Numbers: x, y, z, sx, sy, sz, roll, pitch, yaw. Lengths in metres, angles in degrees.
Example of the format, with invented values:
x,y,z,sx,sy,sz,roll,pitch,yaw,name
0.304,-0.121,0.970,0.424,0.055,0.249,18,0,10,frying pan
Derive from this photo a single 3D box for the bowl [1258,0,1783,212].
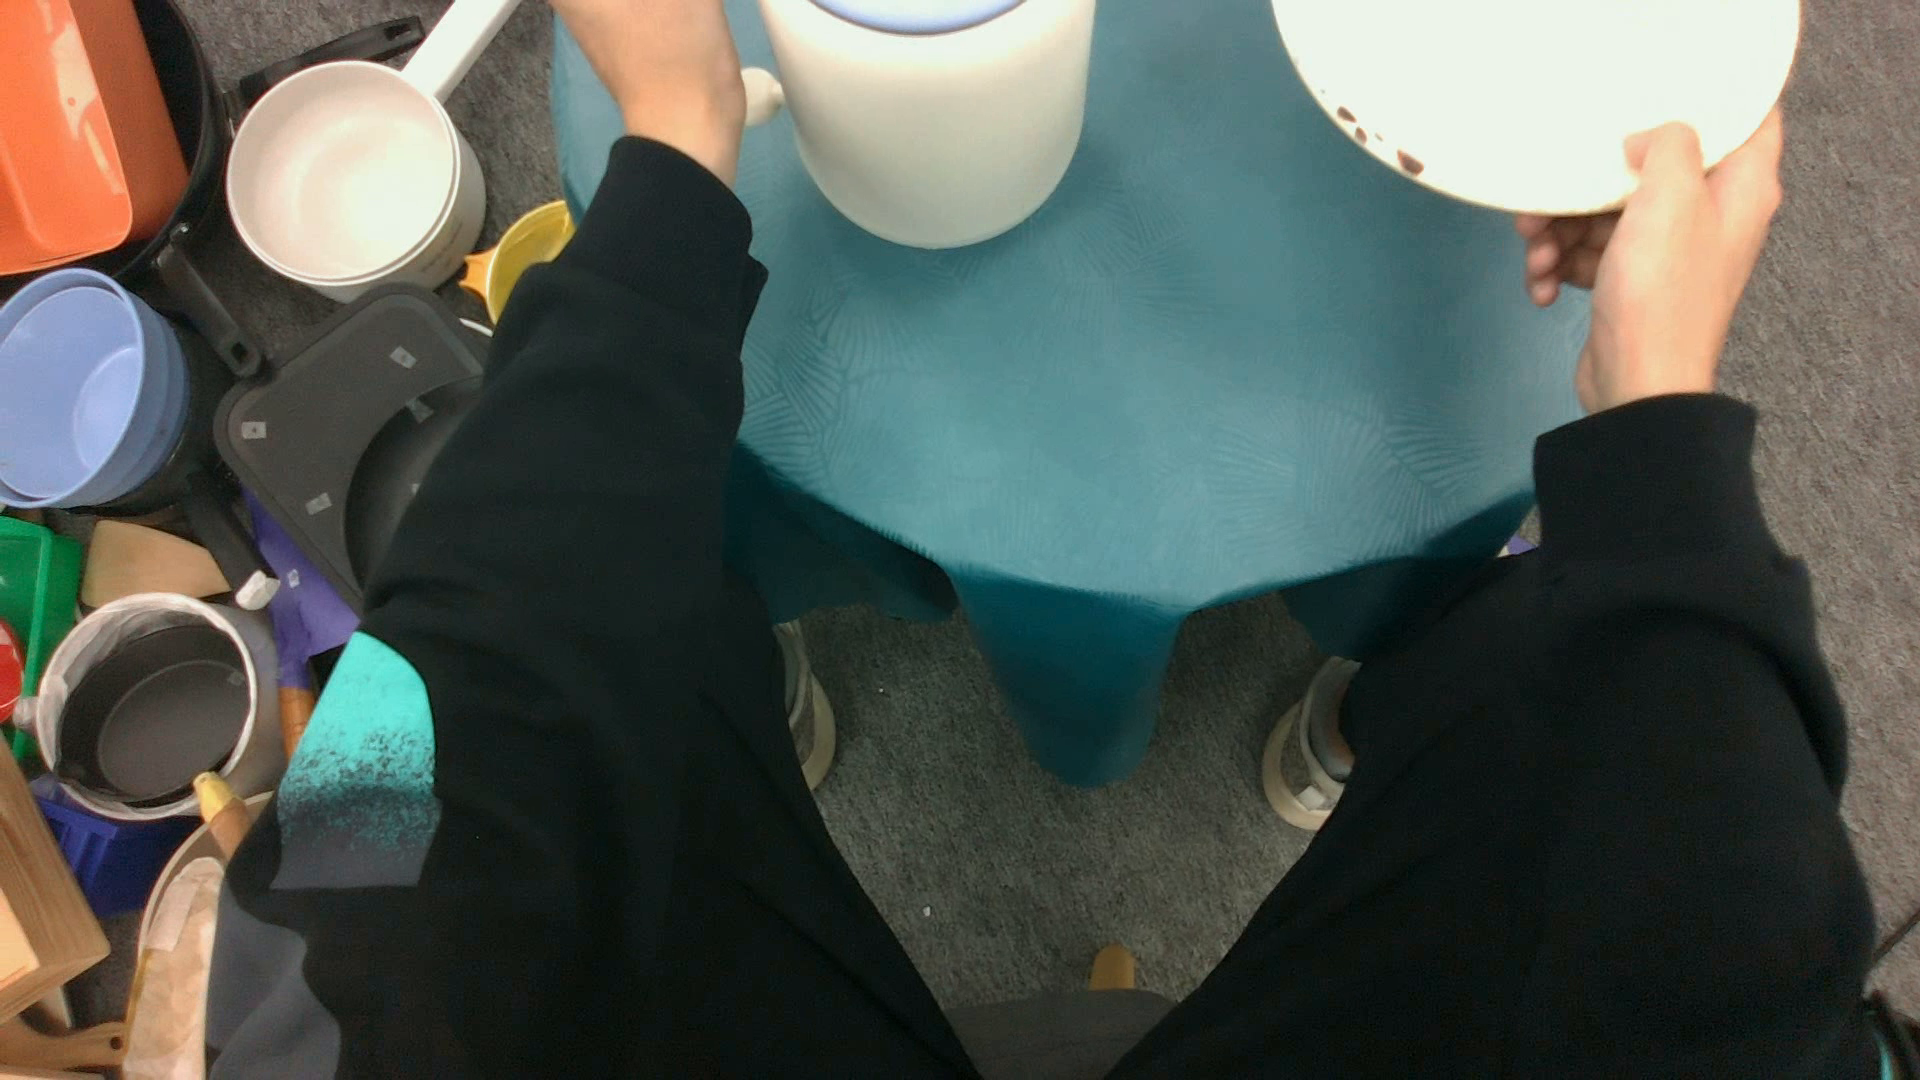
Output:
x,y,z,sx,sy,sz,roll,pitch,yaw,name
0.216,-0.218,0.569,0.204,0.078,0.204,0,80,1,bowl

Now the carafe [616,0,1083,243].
x,y,z,sx,sy,sz,roll,pitch,yaw,name
-0.041,-0.212,0.555,0.191,0.182,0.132,-2,77,3,carafe
